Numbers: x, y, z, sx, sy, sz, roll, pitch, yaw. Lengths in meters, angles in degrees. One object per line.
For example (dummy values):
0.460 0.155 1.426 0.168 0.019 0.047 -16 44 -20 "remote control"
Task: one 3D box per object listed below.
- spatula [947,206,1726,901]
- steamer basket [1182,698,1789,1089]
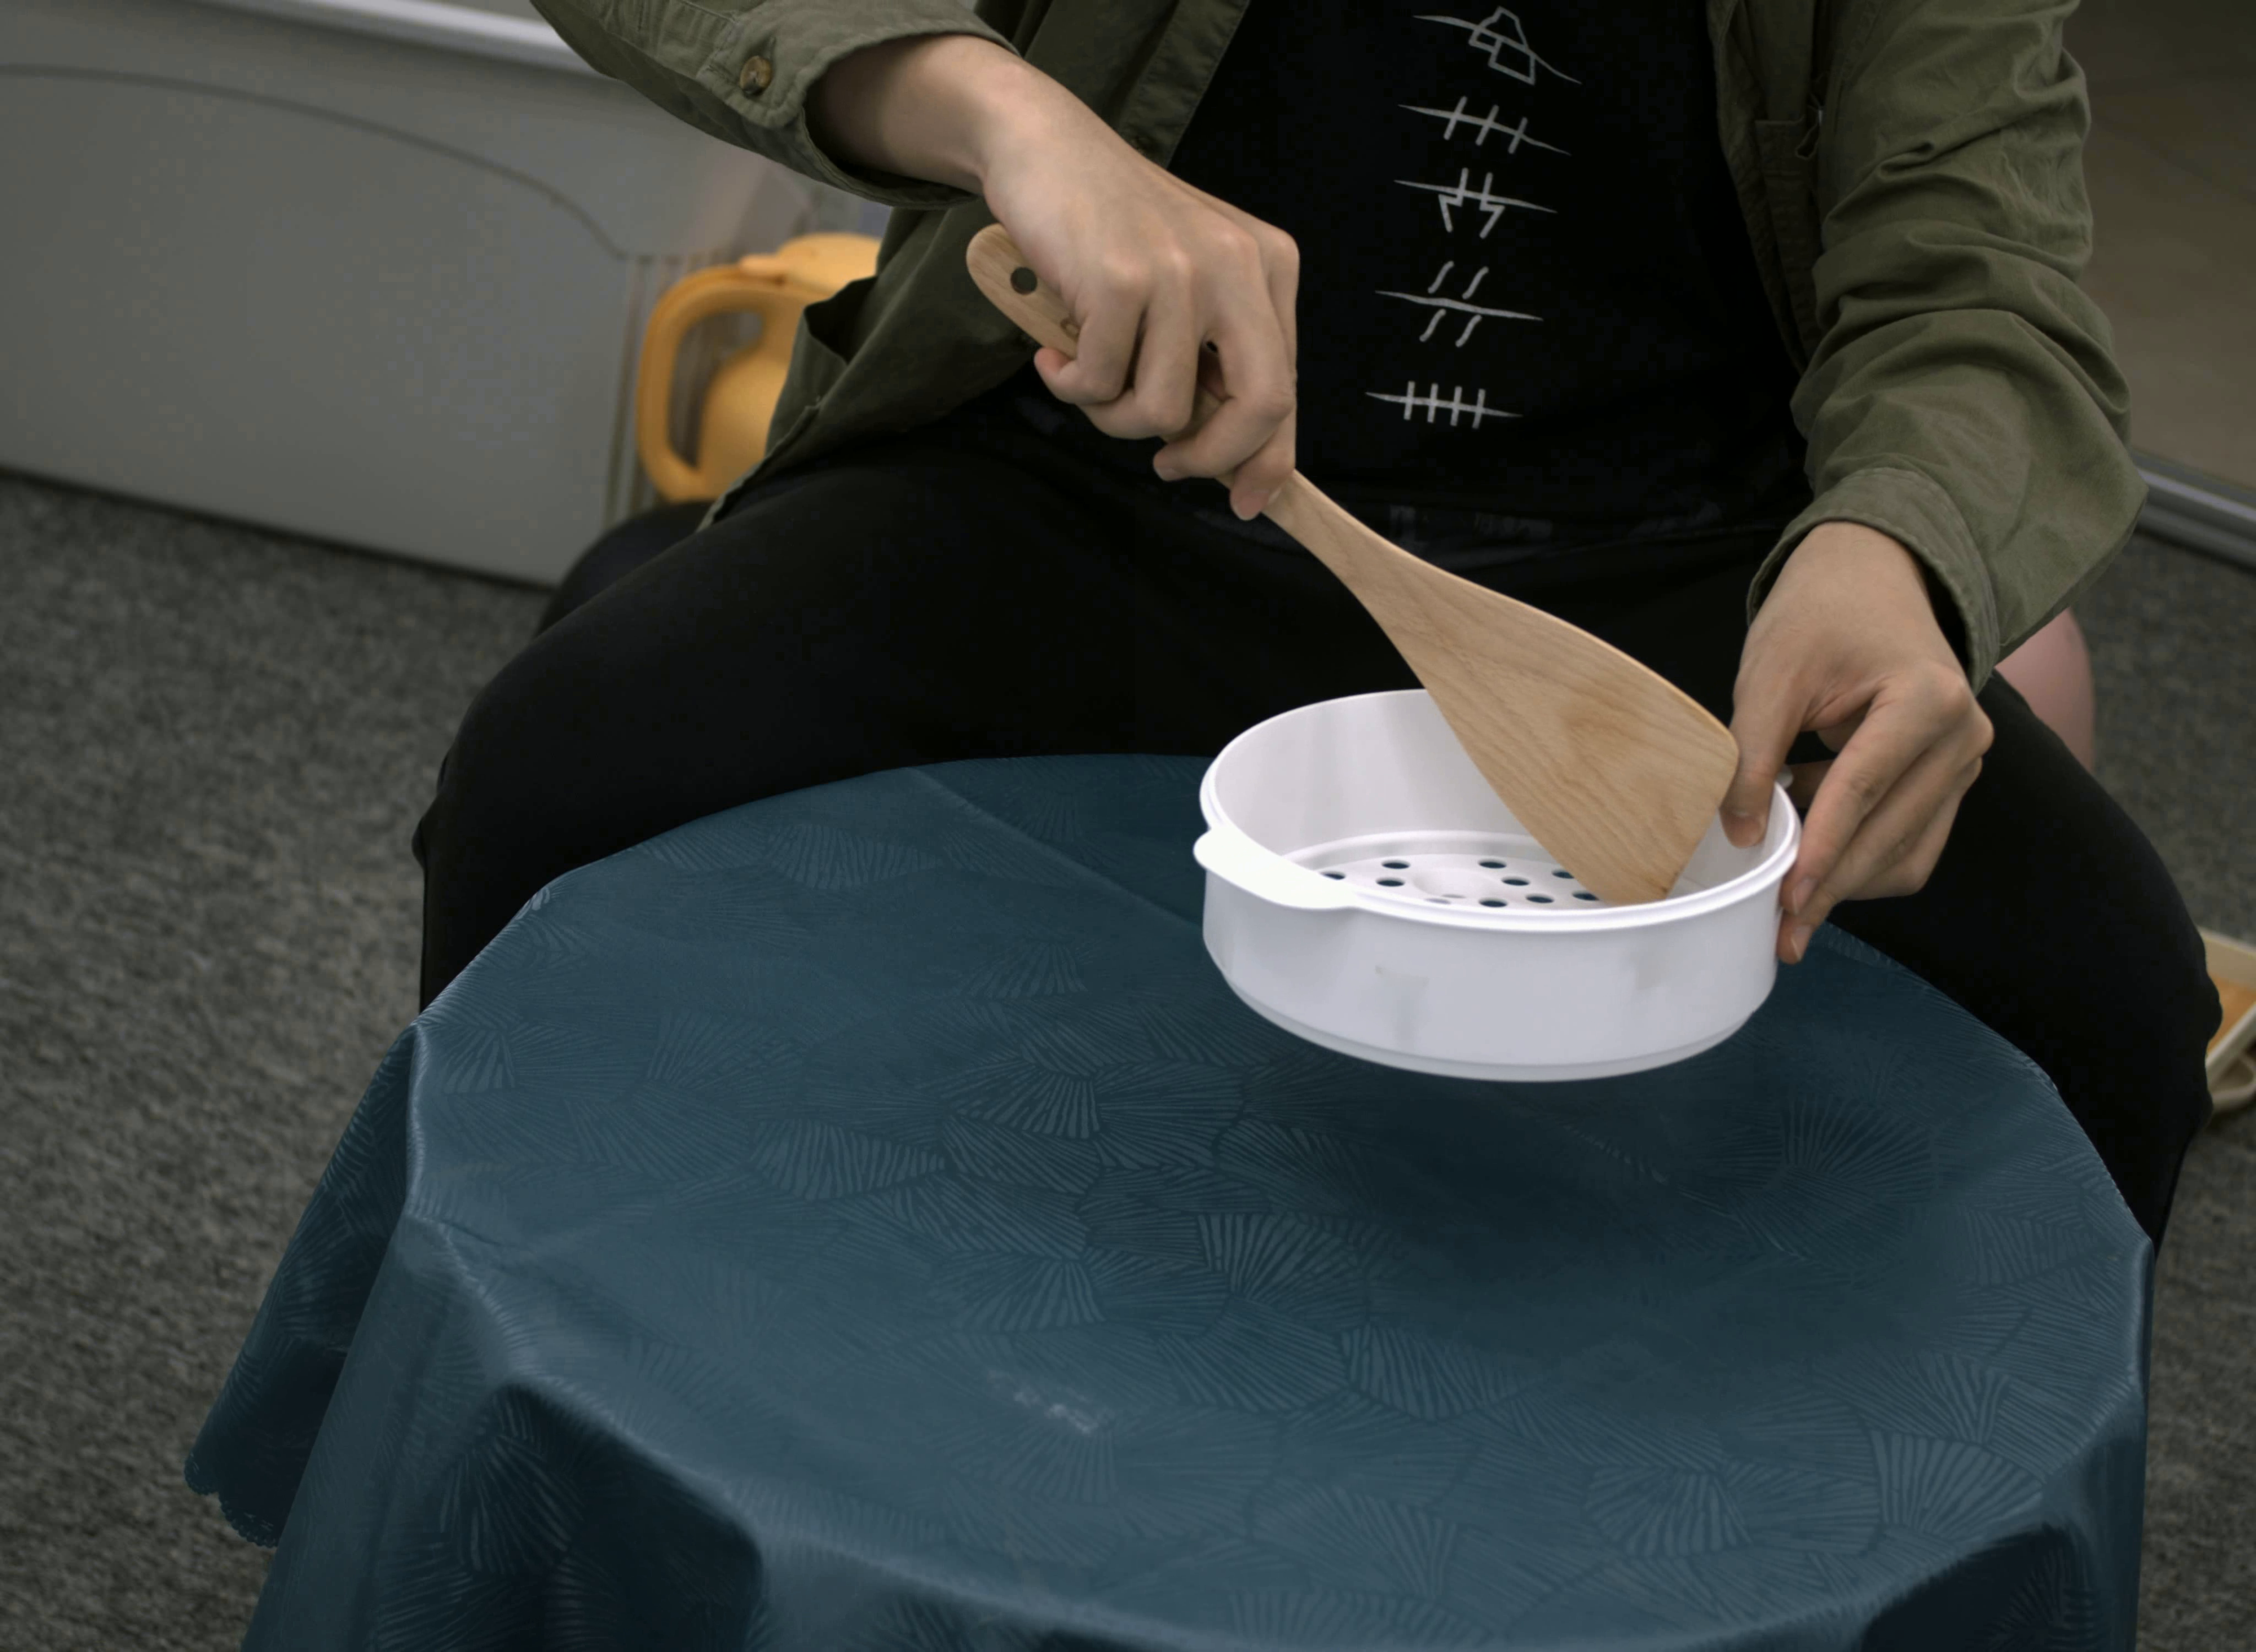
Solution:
0.067 -0.103 1.814 0.327 0.080 0.016 39 28 2 "spatula"
0.118 0.023 1.787 0.229 0.069 0.203 -12 27 -35 "steamer basket"
